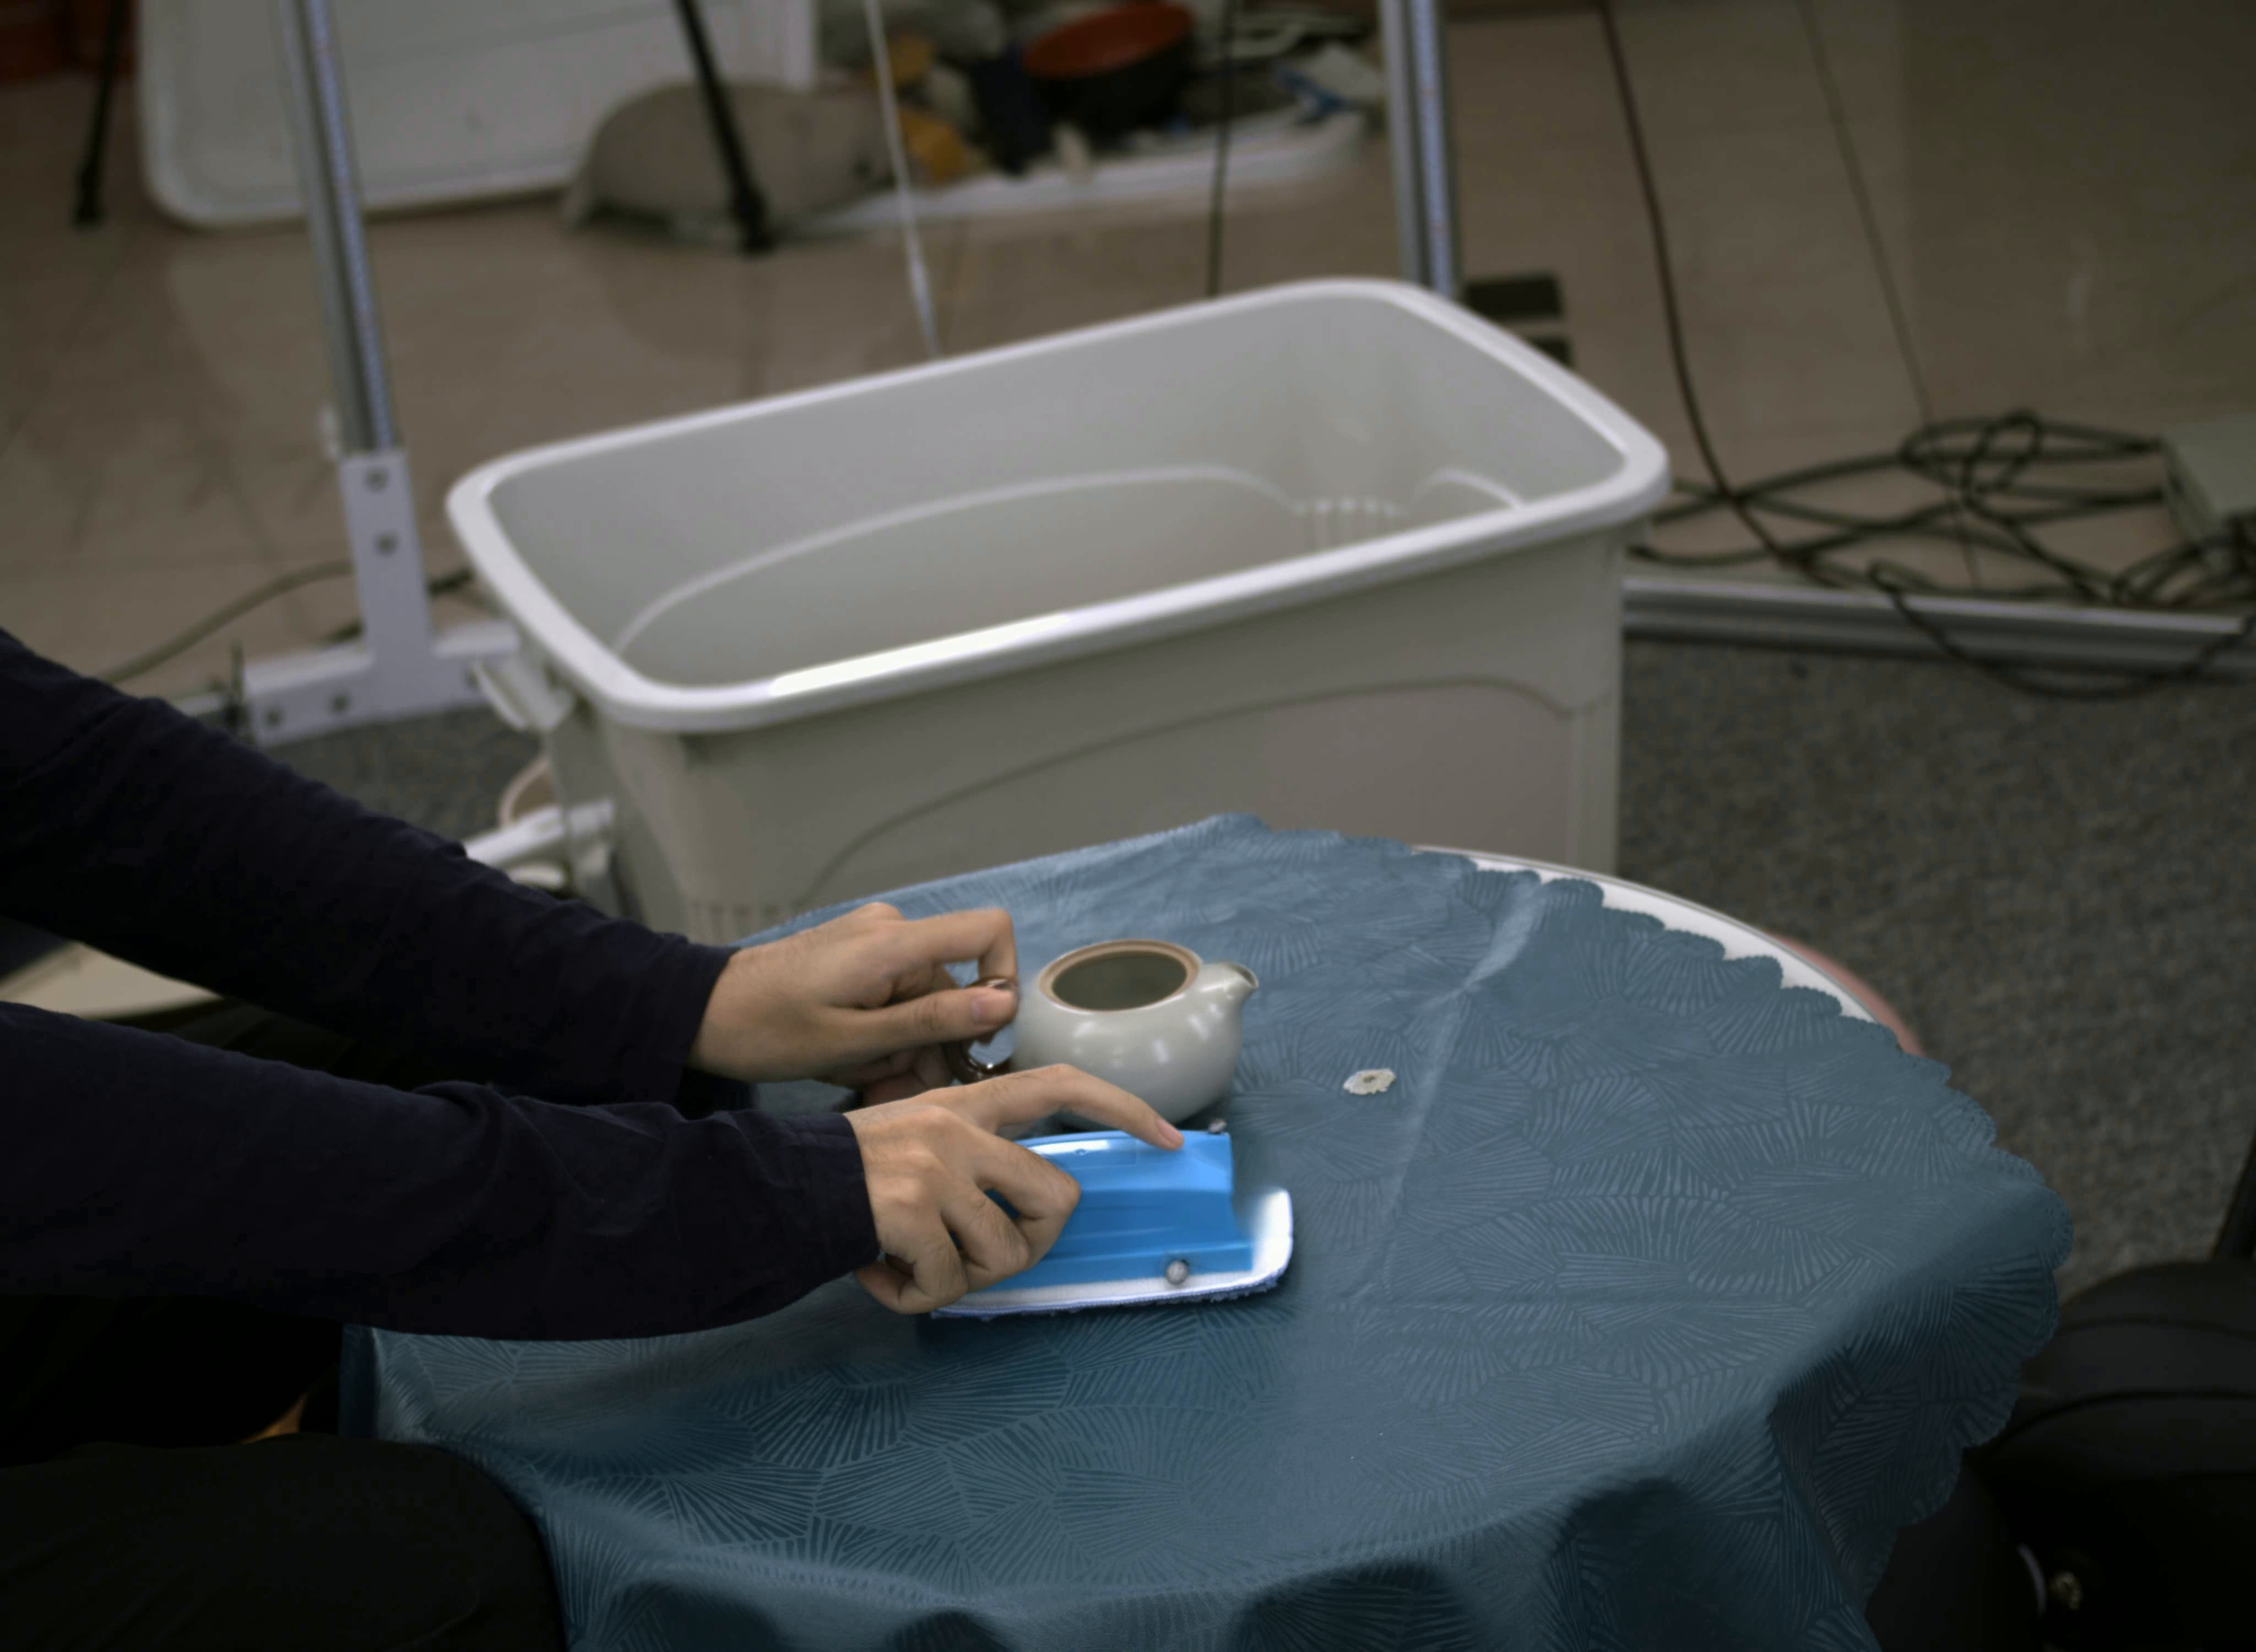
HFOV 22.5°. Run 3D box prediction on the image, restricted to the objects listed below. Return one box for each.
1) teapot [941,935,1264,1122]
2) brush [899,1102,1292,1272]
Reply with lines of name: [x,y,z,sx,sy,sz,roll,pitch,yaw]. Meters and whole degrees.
teapot: [-0.009,0.082,2.202,0.128,0.060,0.090,-1,29,7]
brush: [-0.011,0.132,2.084,0.144,0.056,0.083,1,20,2]
